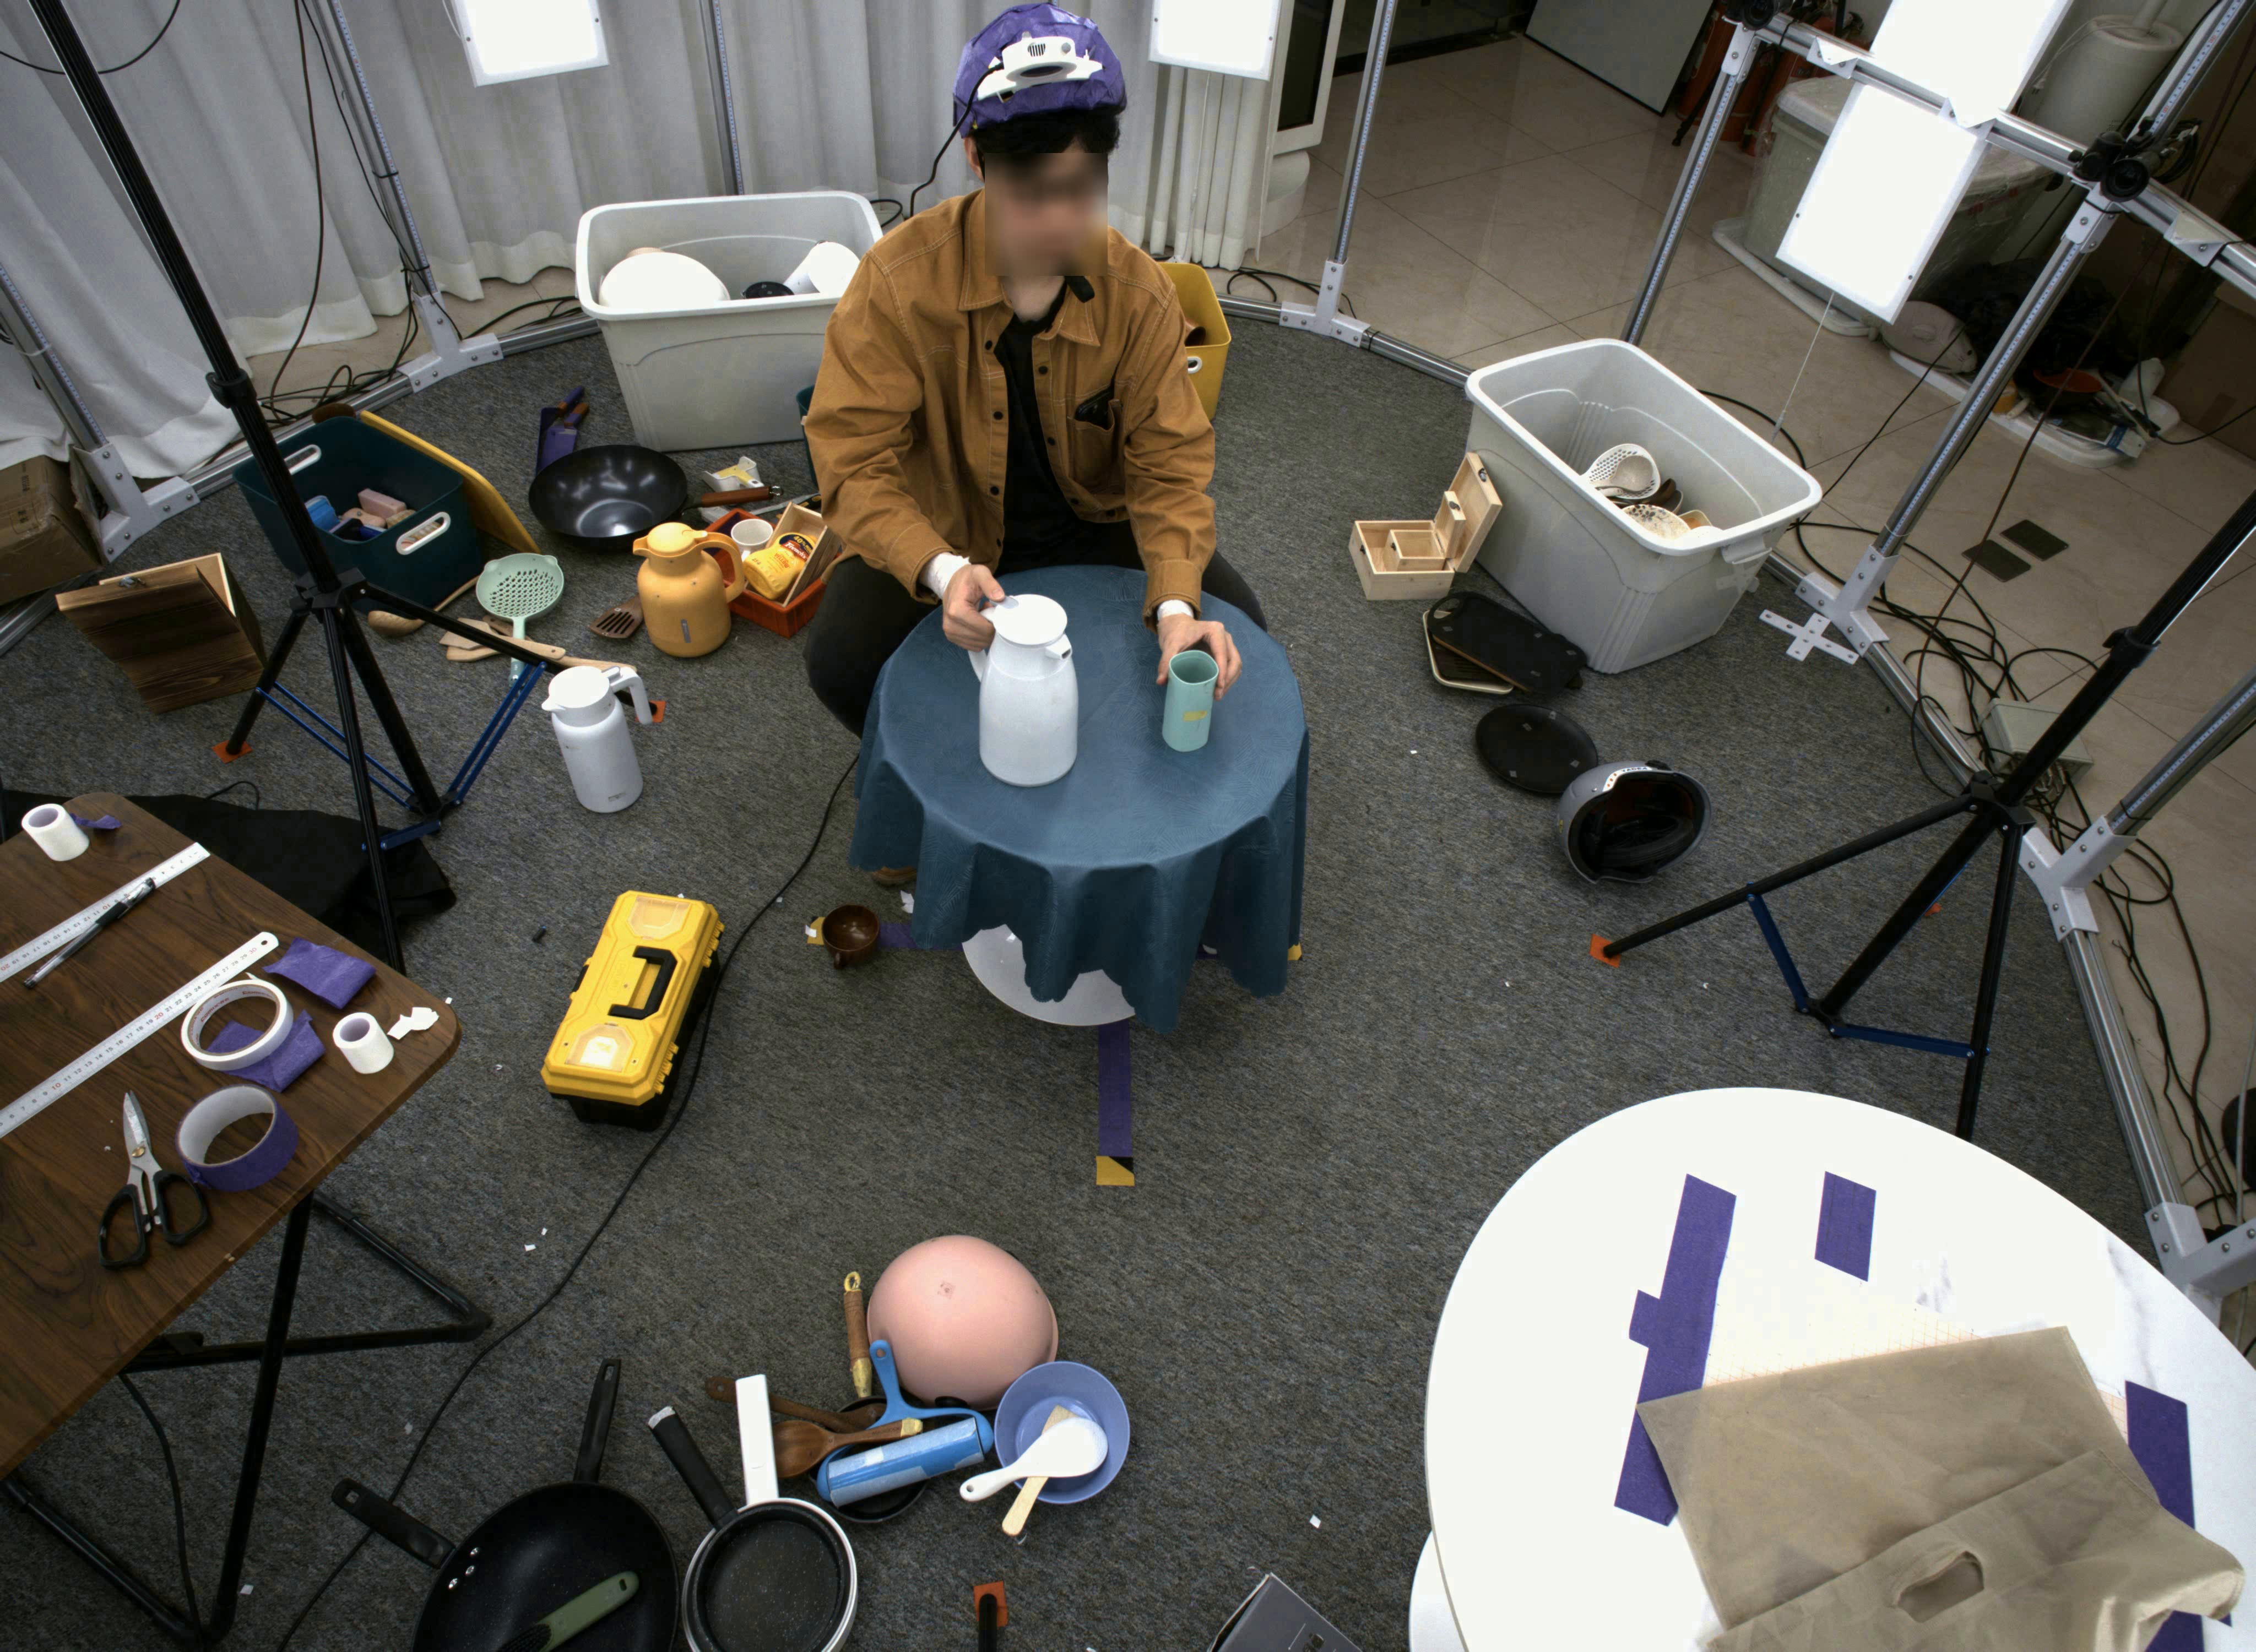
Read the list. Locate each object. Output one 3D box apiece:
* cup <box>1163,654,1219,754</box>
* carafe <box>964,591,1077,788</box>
[{"bbox_3d":[0.083,-0.166,1.738,0.066,0.129,0.068,2,49,-3],"label":"cup"},{"bbox_3d":[-0.145,-0.189,1.664,0.170,0.242,0.134,34,56,24],"label":"carafe"}]
